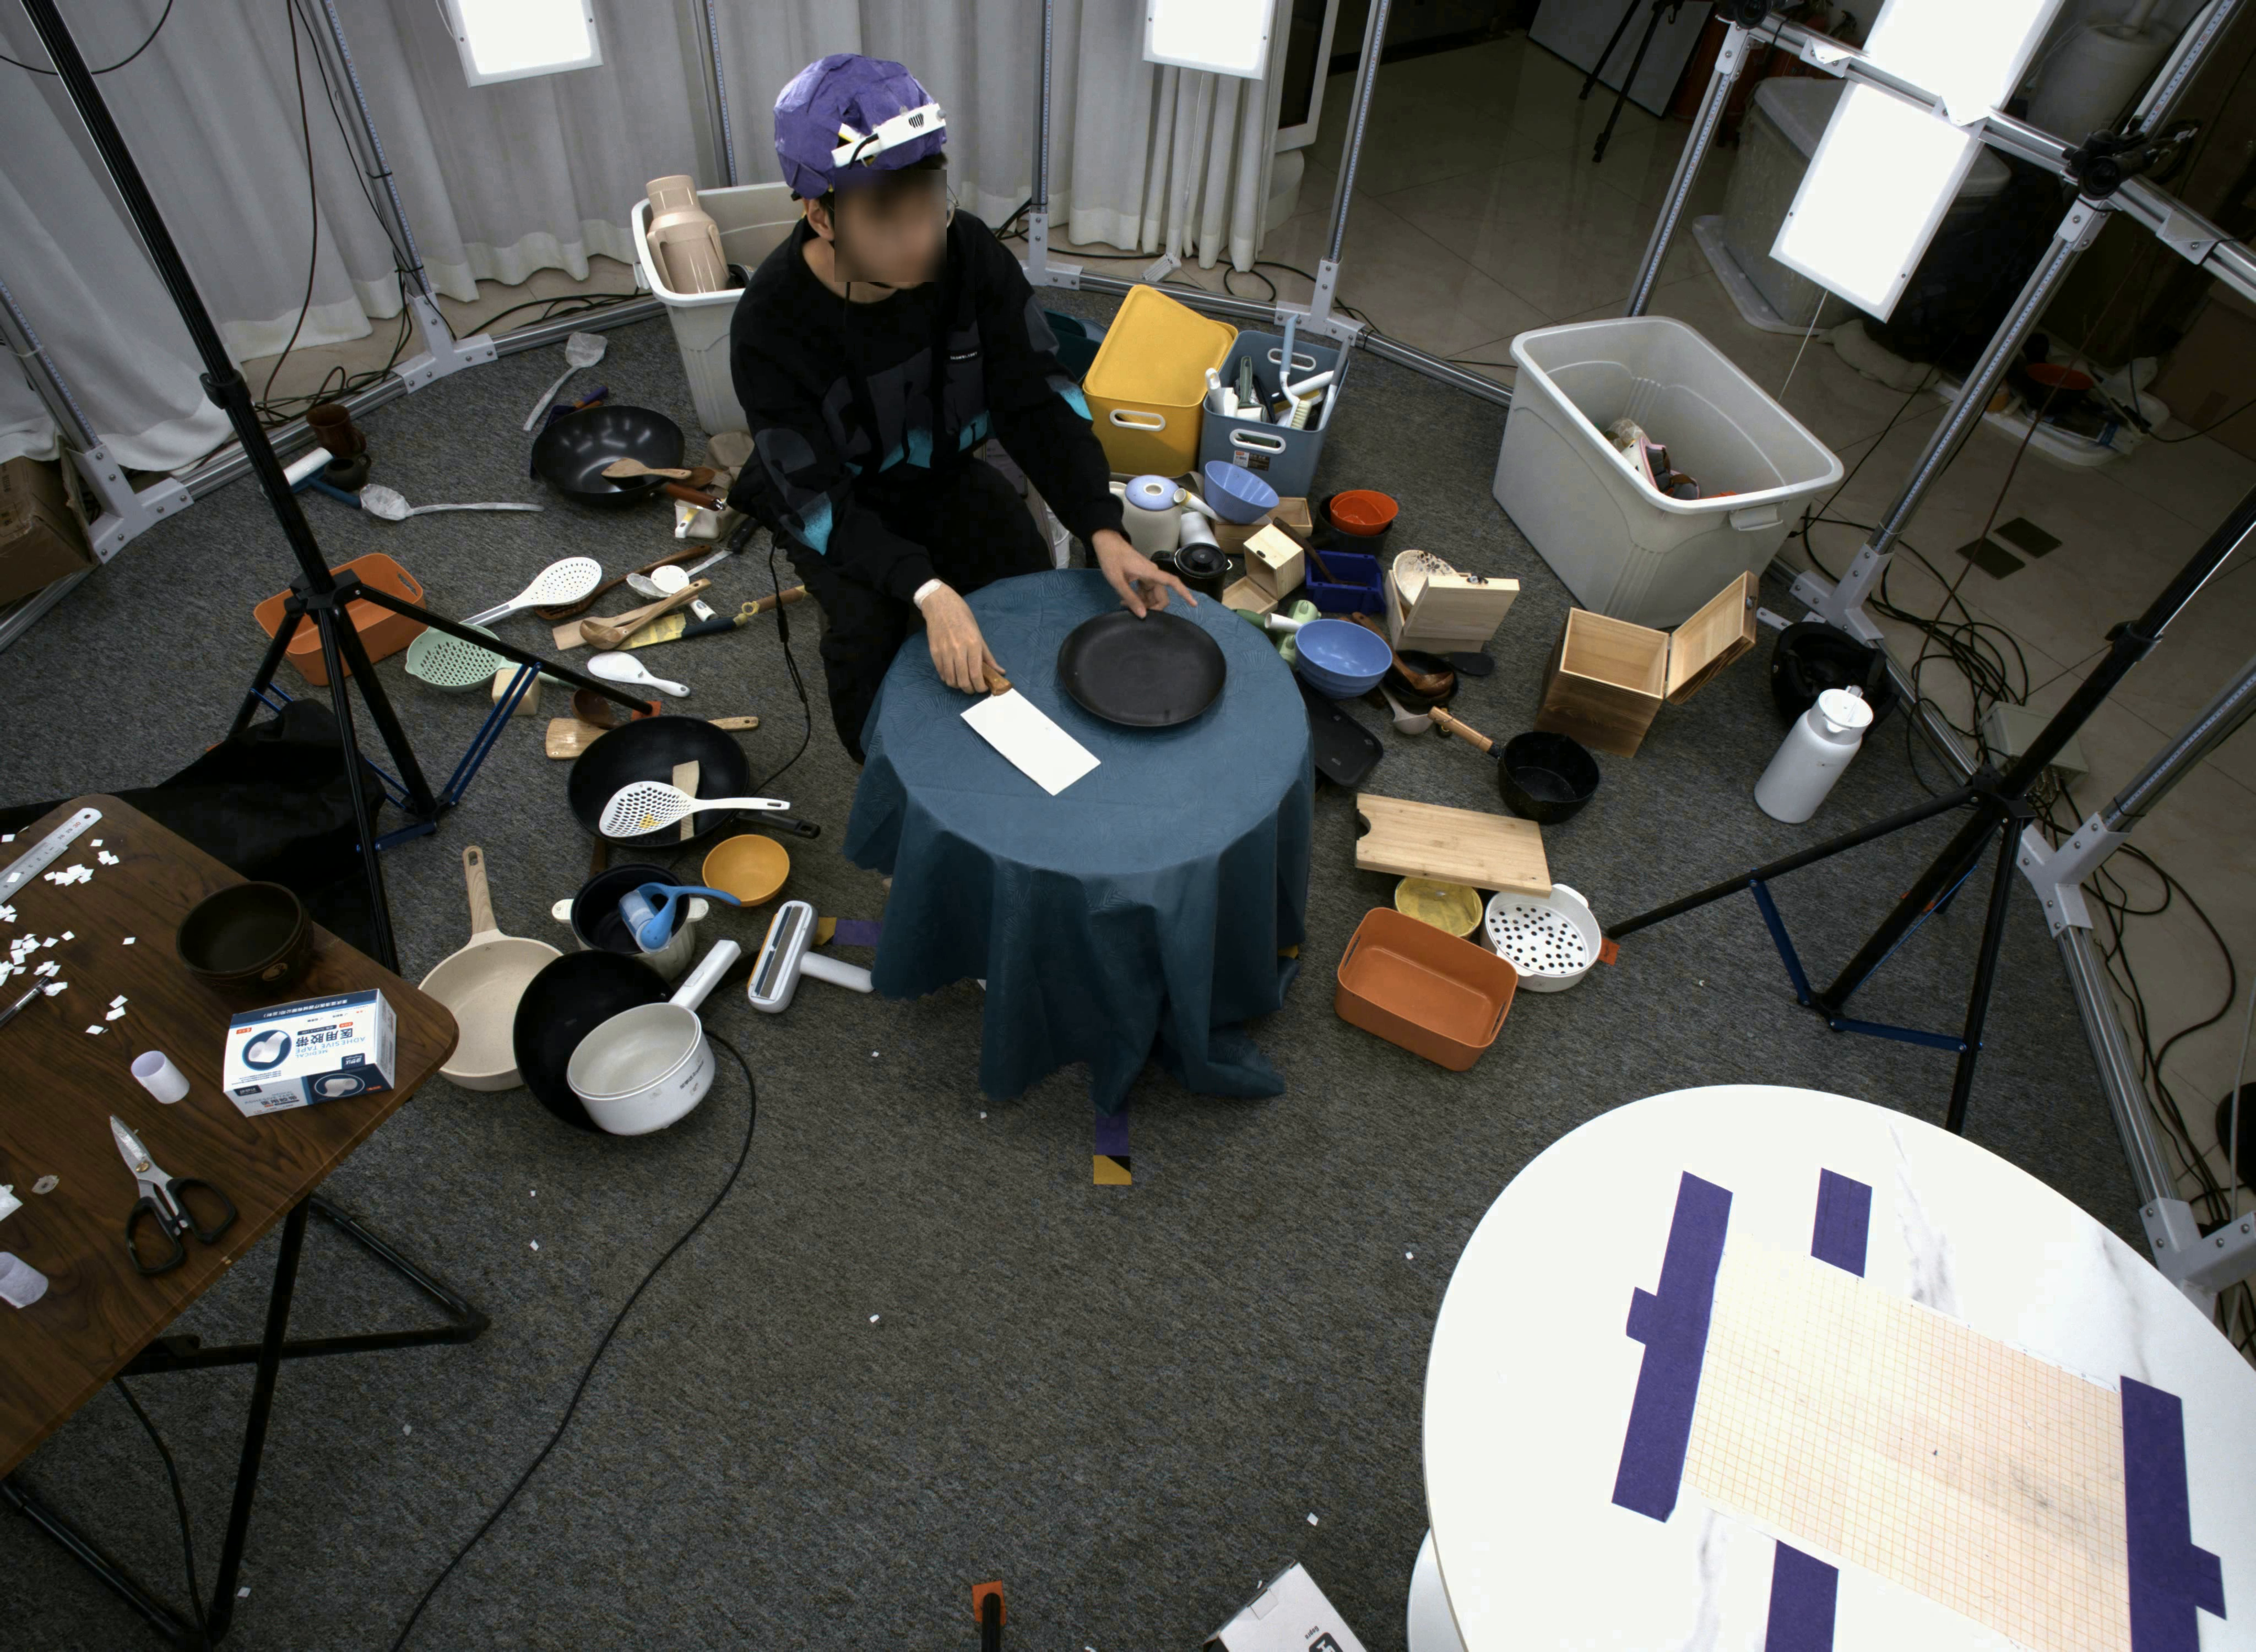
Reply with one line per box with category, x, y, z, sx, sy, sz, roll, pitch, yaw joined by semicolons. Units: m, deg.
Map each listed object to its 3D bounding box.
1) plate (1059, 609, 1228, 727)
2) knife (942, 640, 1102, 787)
plate;0.022;-0.225;1.850;0.244;0.023;0.250;2;49;-2
knife;-0.169;-0.155;1.781;0.094;0.020;0.310;-35;62;-28
